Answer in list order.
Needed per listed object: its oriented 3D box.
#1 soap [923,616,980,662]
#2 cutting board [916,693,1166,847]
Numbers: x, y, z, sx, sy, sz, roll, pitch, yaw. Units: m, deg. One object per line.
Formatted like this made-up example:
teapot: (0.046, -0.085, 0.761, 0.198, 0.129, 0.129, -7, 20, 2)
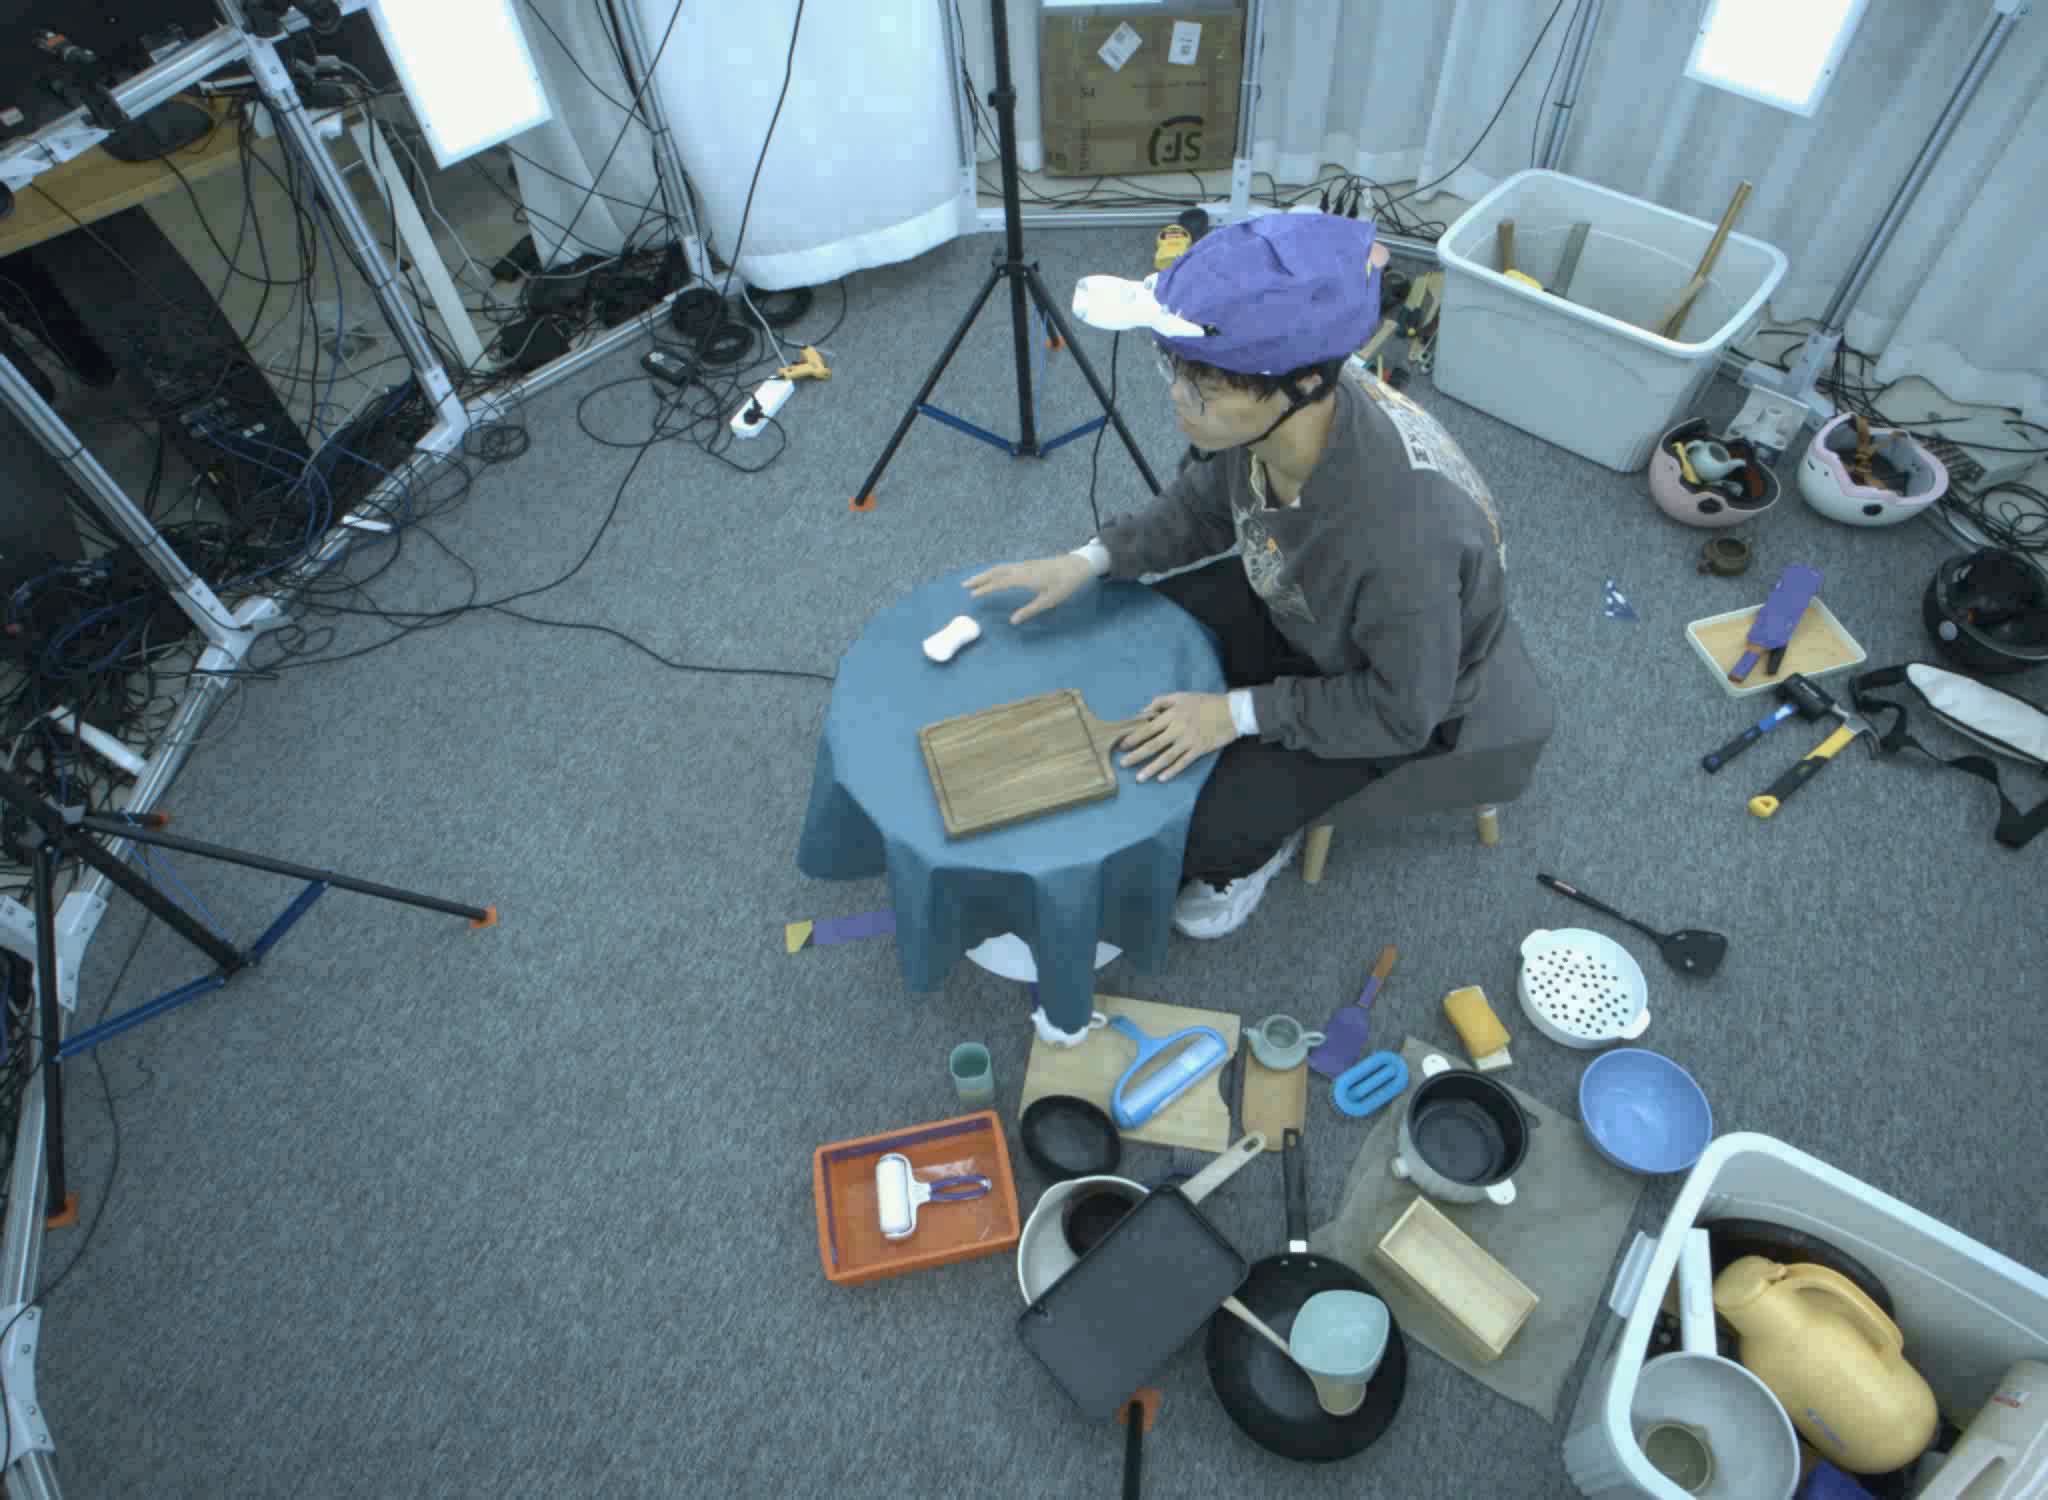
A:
soap: (-0.112, -0.171, 1.895, 0.095, 0.030, 0.049, -39, 62, -25)
cutting board: (0.036, 0.012, 1.762, 0.354, 0.023, 0.198, -14, 55, -8)
